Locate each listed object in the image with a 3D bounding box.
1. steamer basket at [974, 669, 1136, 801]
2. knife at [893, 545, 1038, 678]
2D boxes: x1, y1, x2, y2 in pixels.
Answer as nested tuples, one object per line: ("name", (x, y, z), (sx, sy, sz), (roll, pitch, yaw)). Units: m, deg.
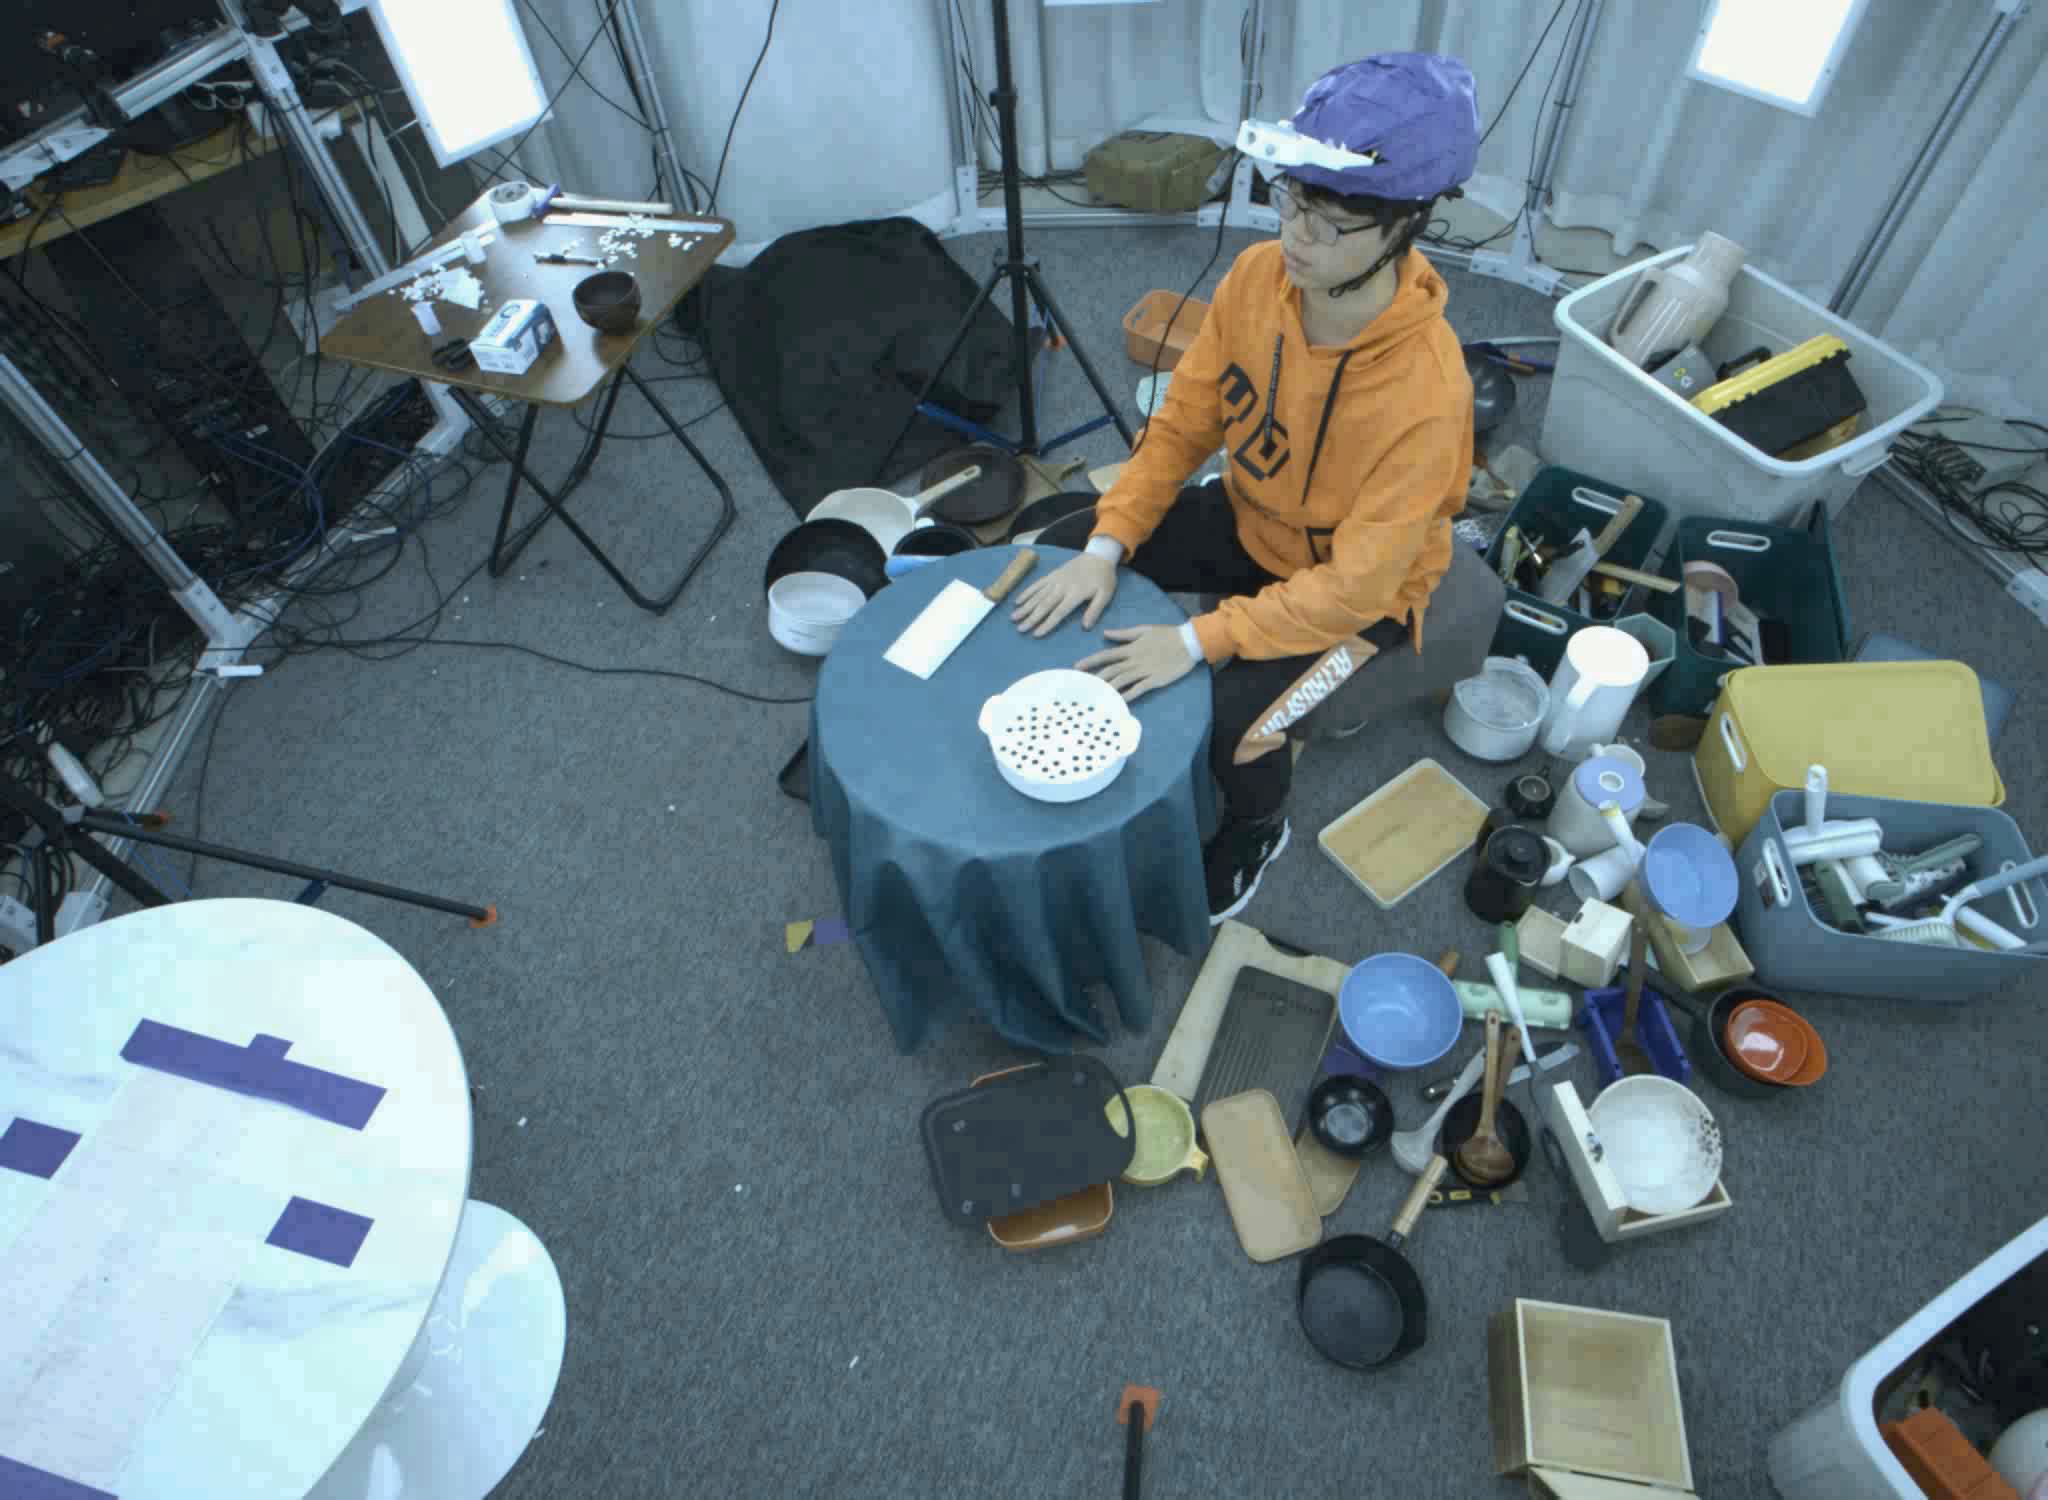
("steamer basket", (0.046, -0.020, 1.756), (0.229, 0.070, 0.201), (8, 55, 11))
("knife", (-0.096, -0.232, 1.945), (0.091, 0.021, 0.307), (28, 63, 22))
